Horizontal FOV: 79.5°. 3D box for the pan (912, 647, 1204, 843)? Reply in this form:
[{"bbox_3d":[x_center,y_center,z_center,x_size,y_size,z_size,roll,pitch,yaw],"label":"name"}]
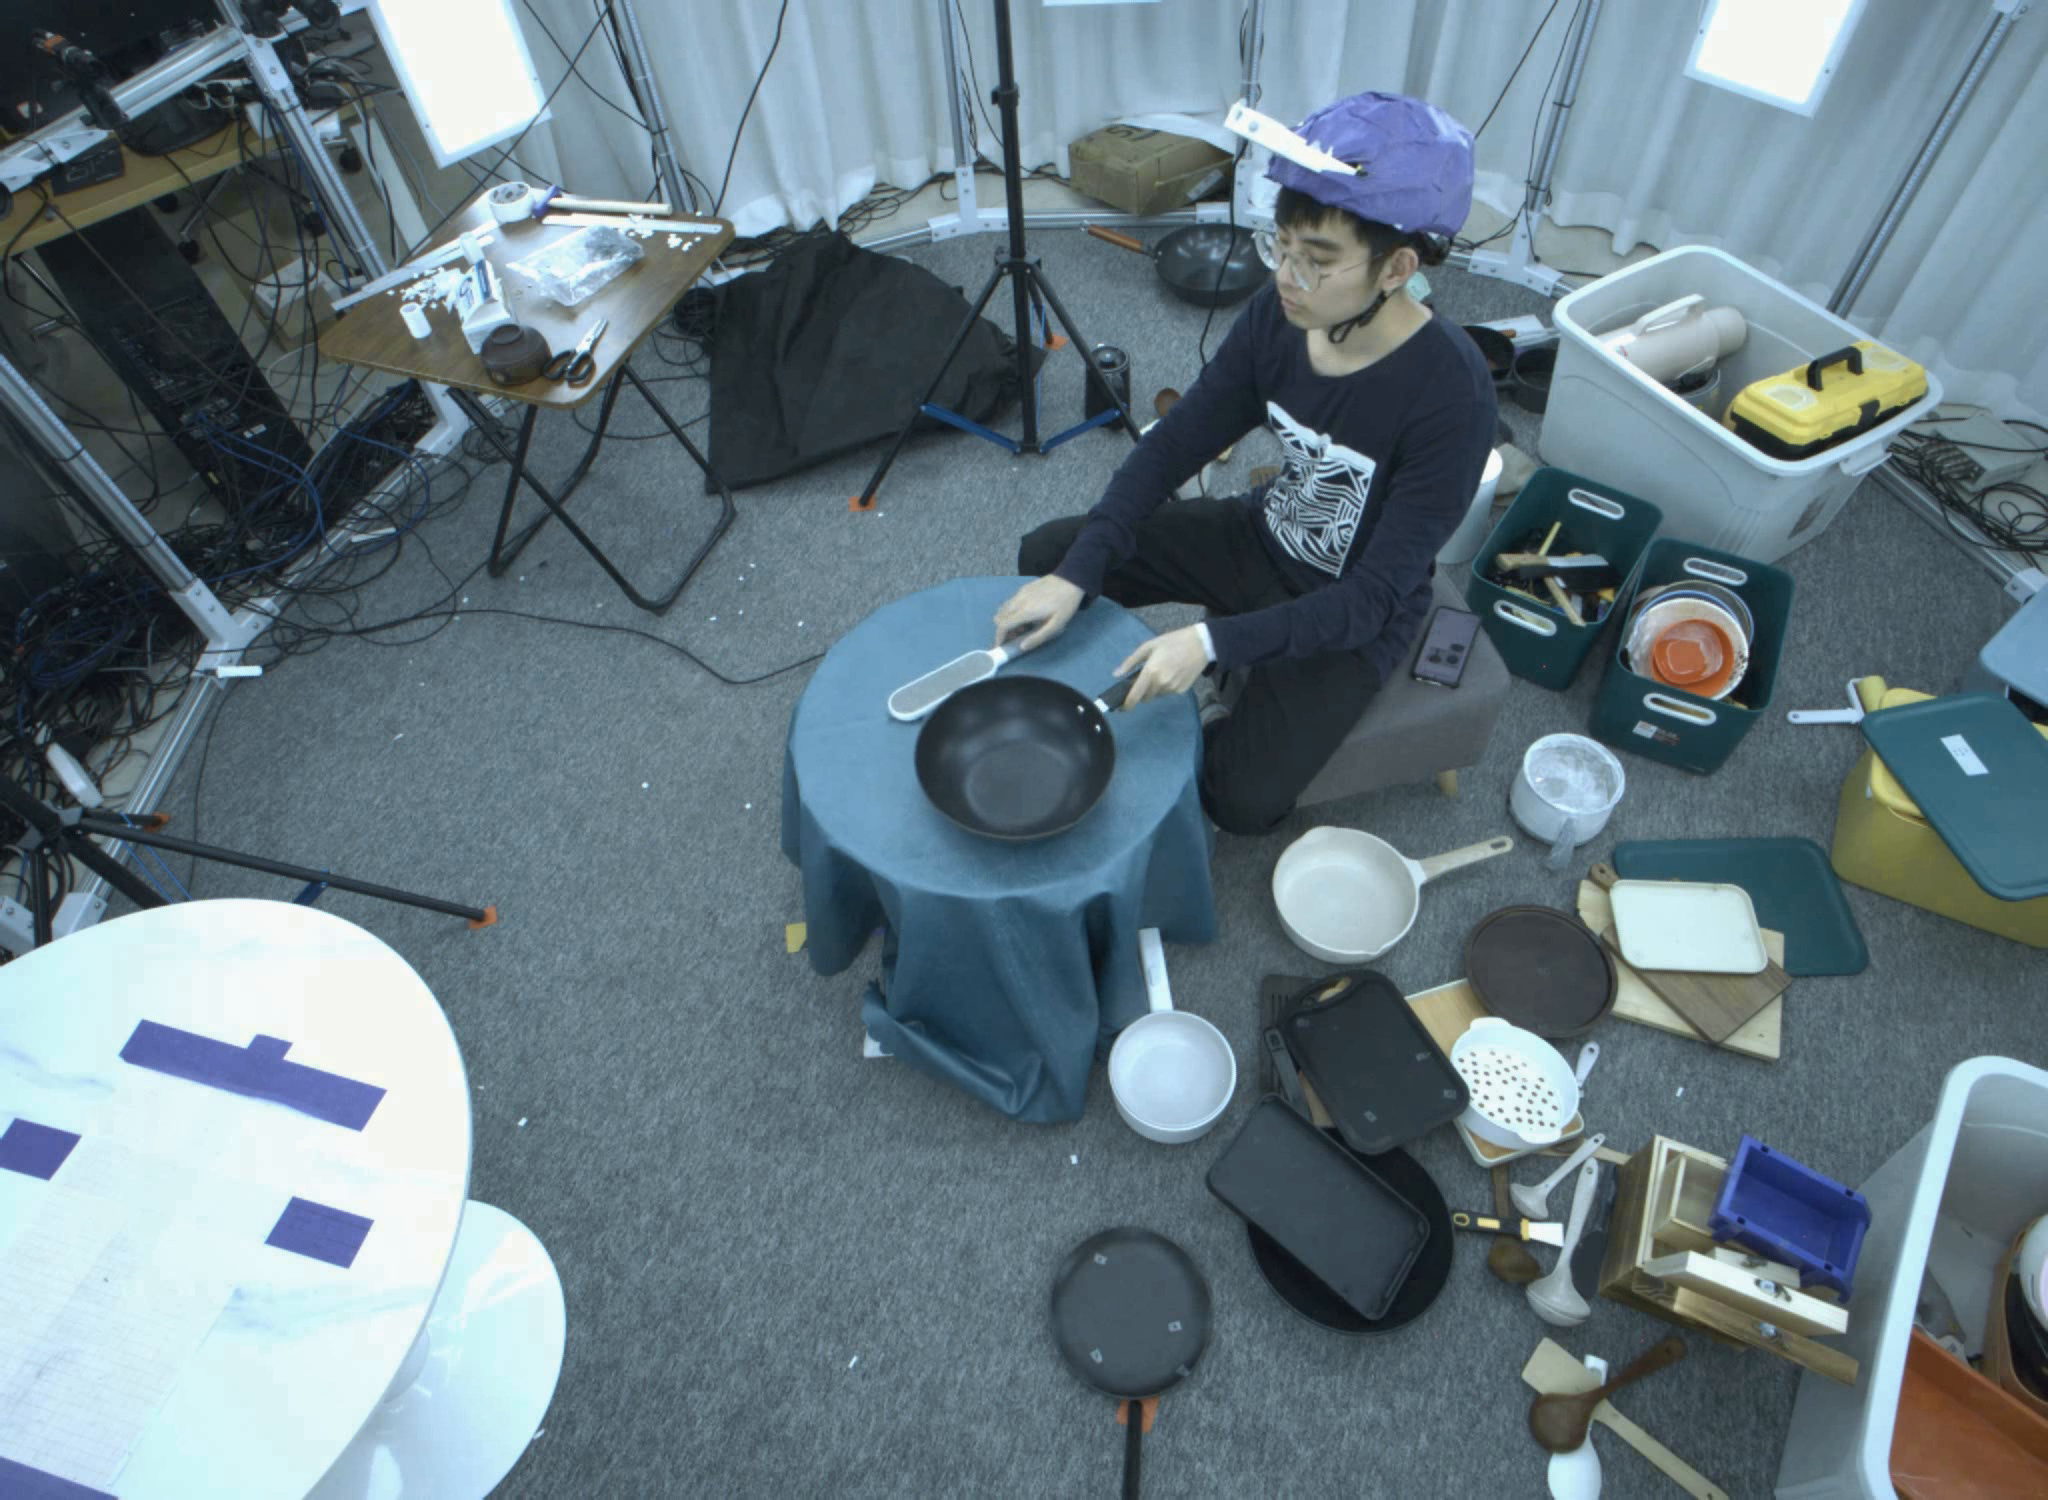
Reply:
[{"bbox_3d":[0.063,-0.020,1.757,0.467,0.088,0.283,-30,60,-19],"label":"pan"}]

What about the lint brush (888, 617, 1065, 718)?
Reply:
[{"bbox_3d":[-0.069,-0.129,1.870,0.311,0.021,0.059,-29,51,-17],"label":"lint brush"}]
